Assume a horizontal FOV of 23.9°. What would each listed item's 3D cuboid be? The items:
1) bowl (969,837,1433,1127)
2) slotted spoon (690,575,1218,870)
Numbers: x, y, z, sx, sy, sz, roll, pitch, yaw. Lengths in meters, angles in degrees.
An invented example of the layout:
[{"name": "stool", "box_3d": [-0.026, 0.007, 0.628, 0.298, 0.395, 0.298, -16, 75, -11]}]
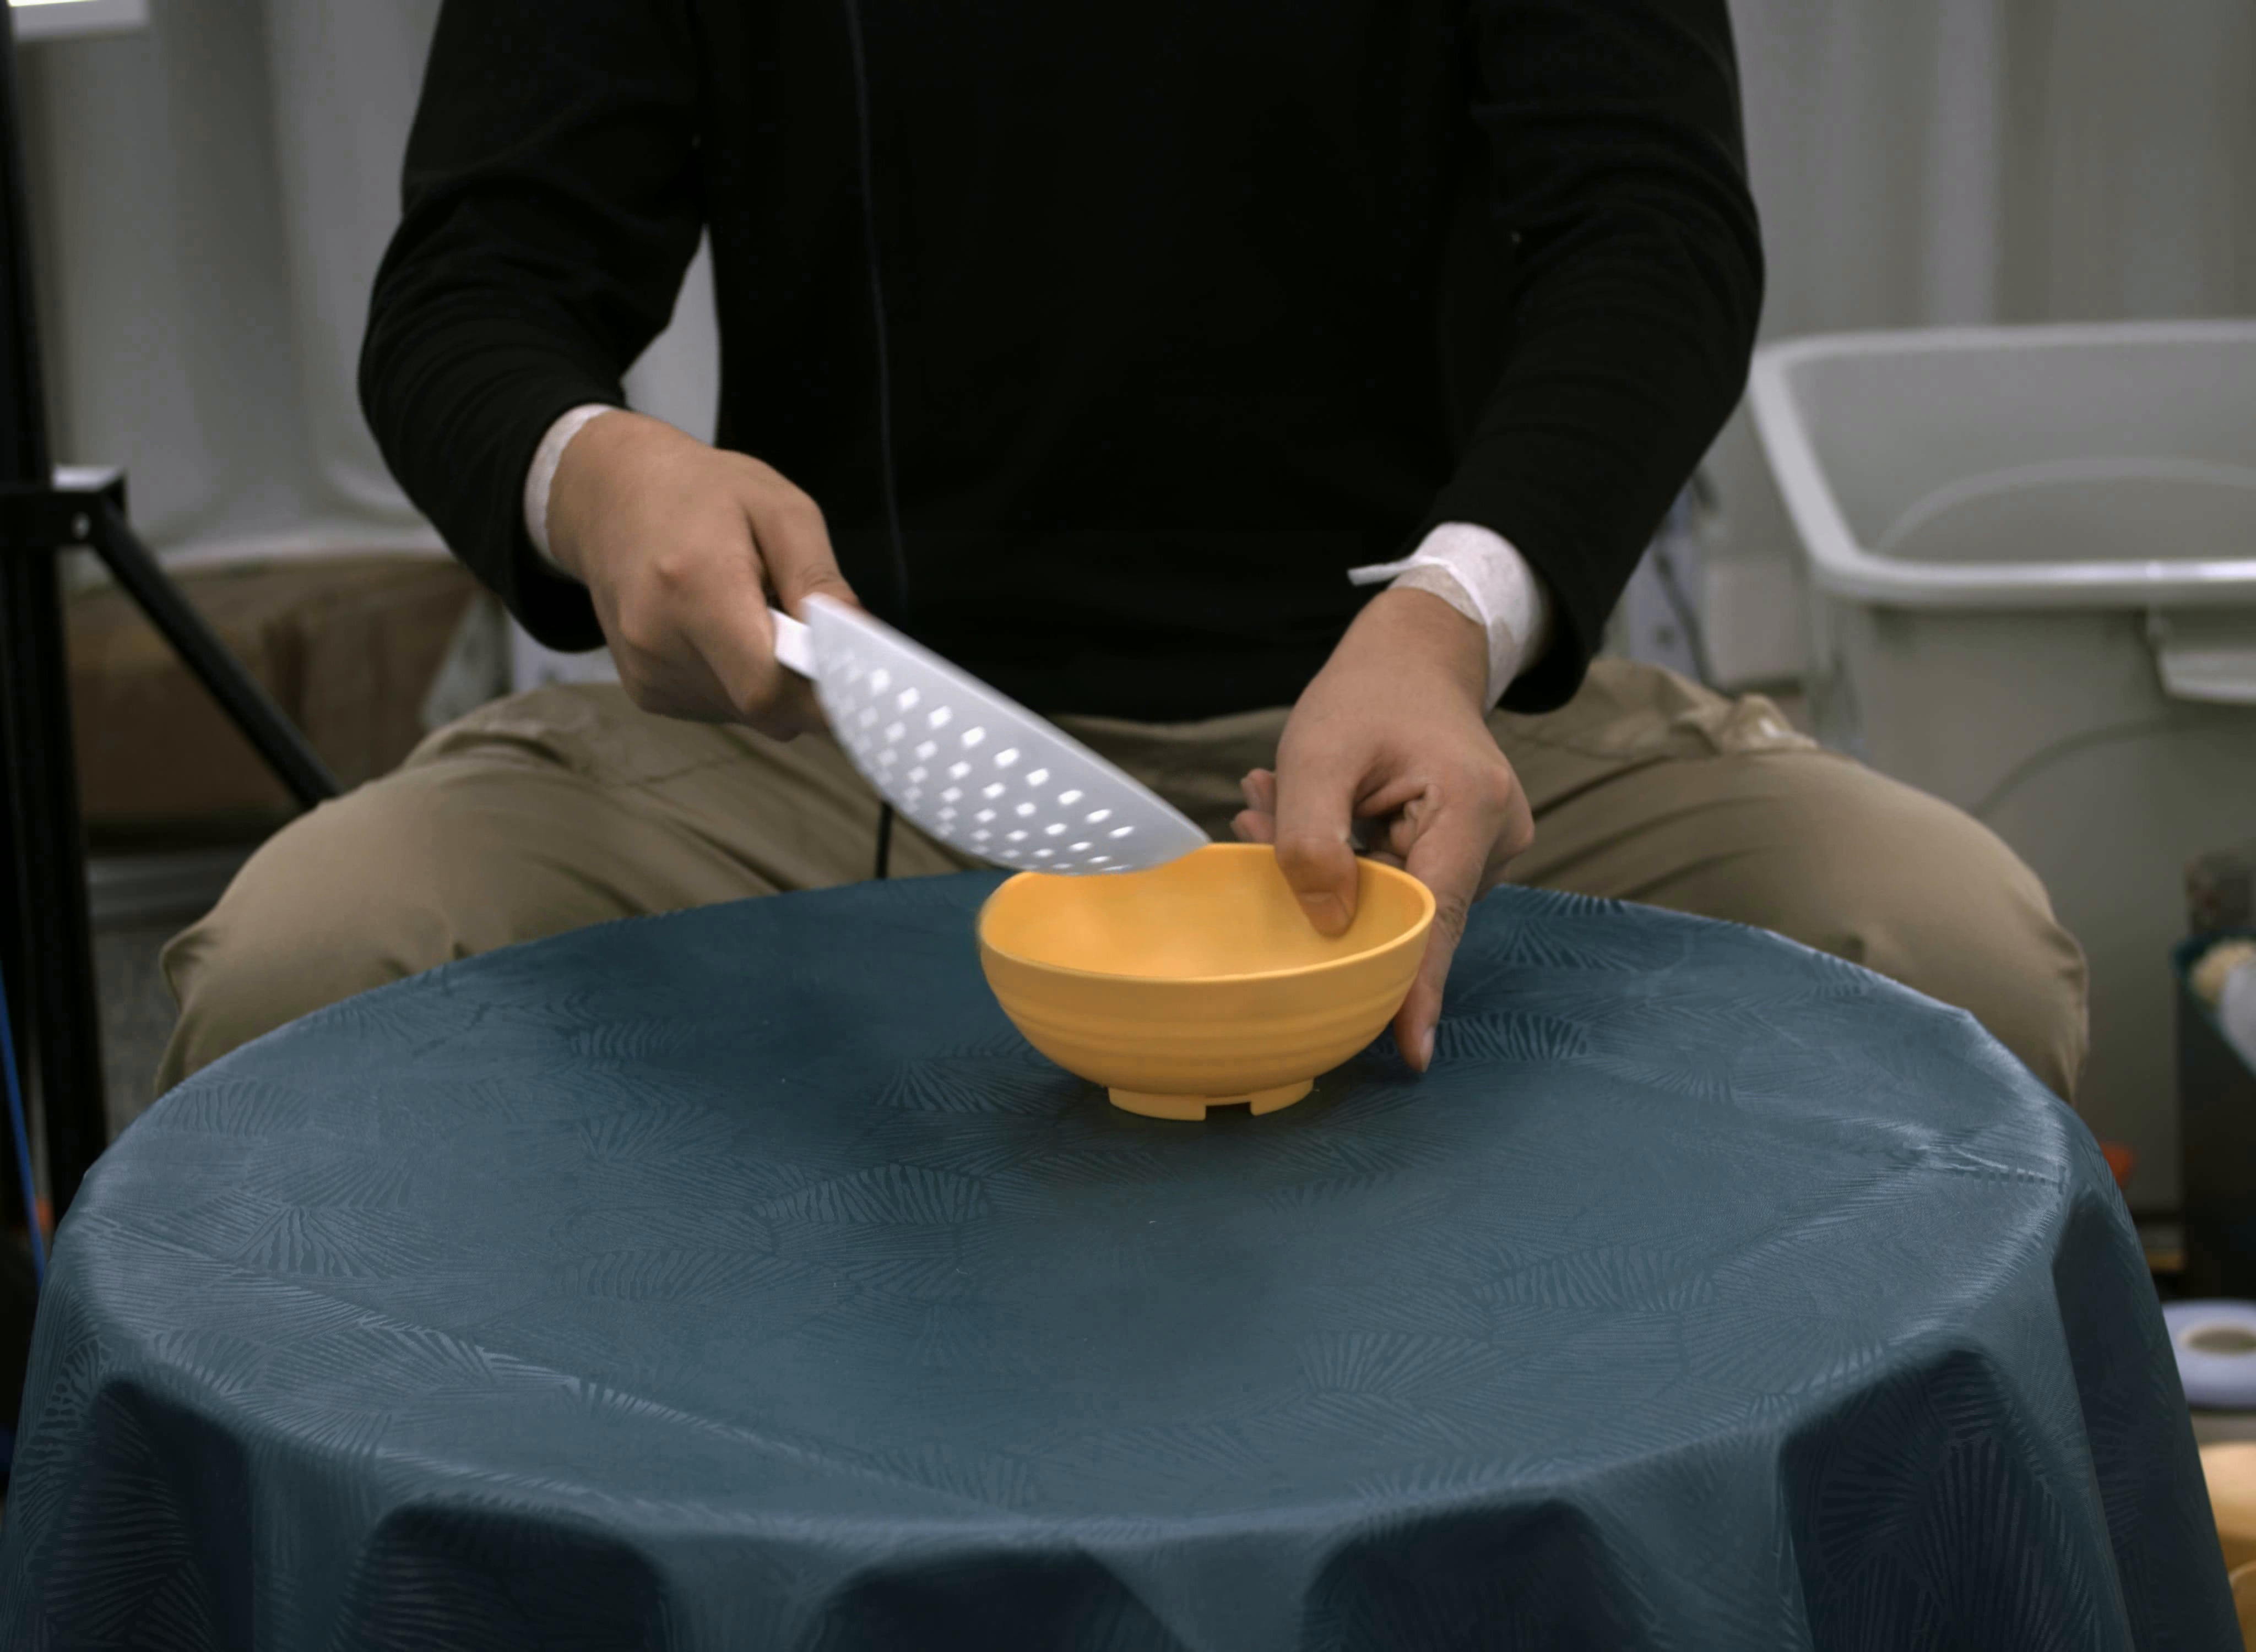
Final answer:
[{"name": "bowl", "box_3d": [0.023, 0.054, 1.642, 0.144, 0.060, 0.146, -2, 18, -1]}, {"name": "slotted spoon", "box_3d": [-0.074, -0.044, 1.634, 0.133, 0.046, 0.355, 35, 0, -22]}]
